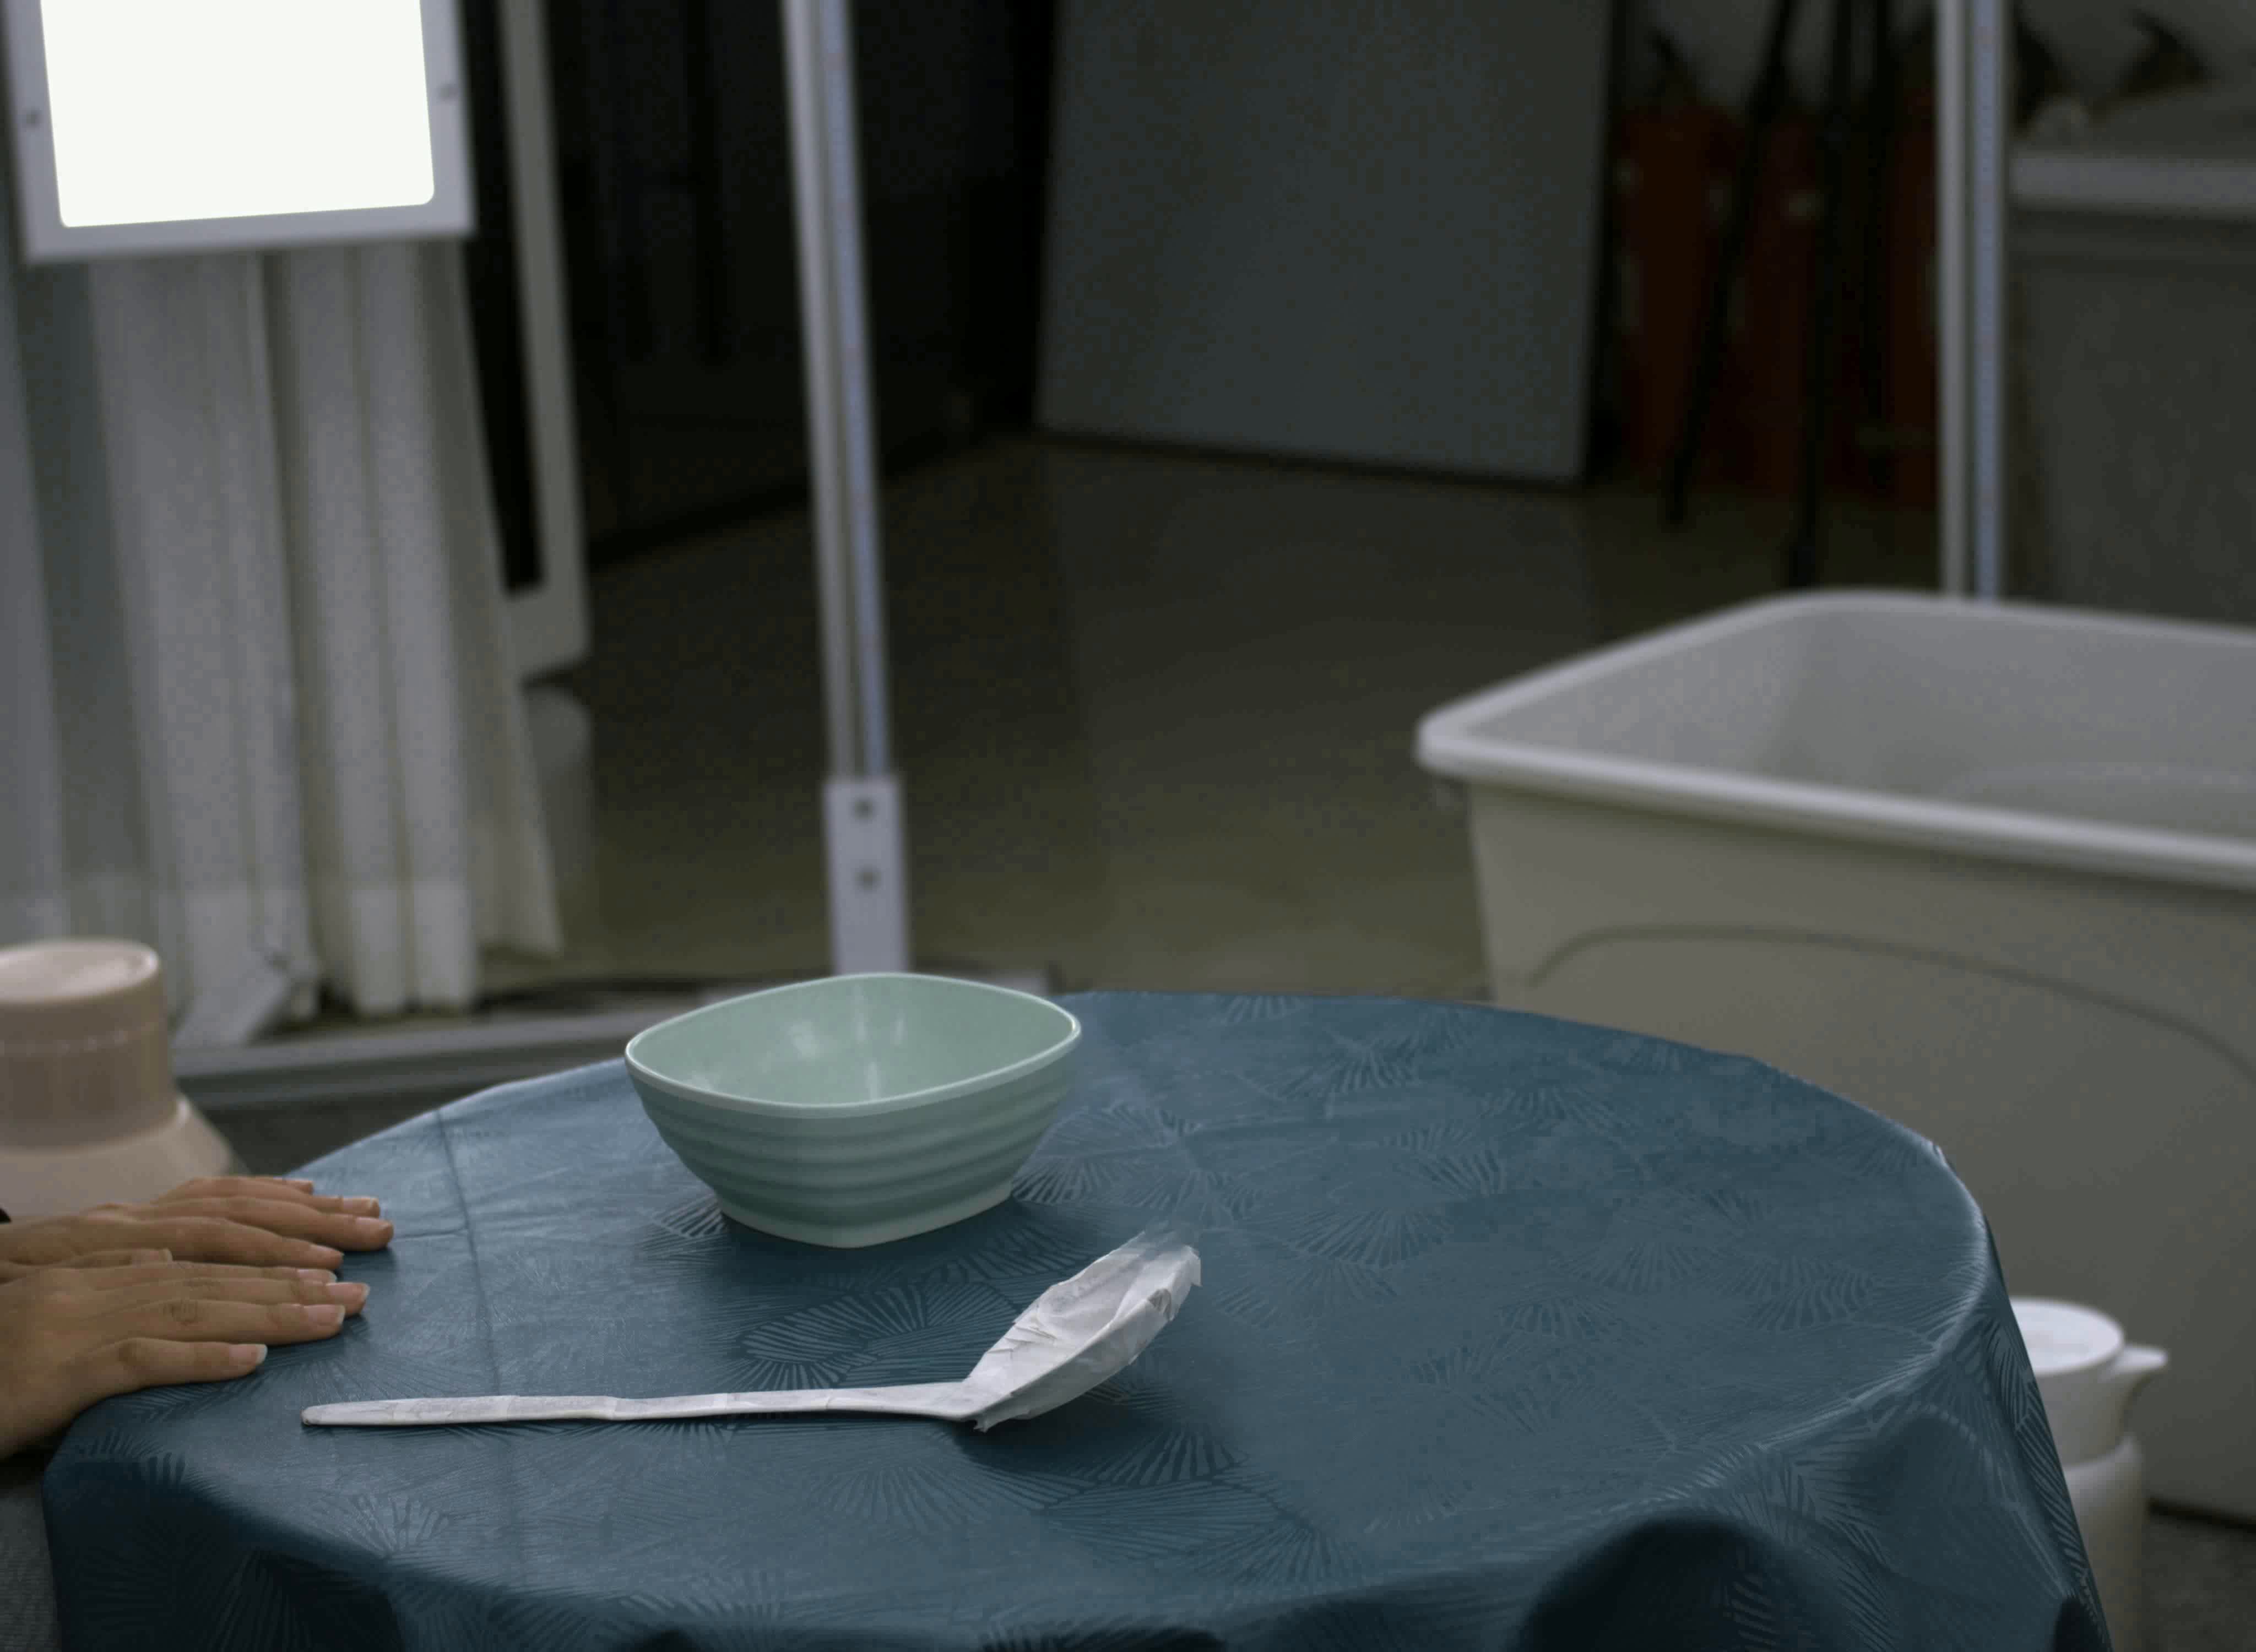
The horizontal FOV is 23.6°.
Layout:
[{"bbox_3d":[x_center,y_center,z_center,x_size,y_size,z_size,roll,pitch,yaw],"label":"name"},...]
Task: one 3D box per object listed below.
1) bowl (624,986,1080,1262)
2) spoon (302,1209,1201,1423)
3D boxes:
[{"bbox_3d":[-0.088,0.100,1.771,0.149,0.059,0.151,-4,13,0],"label":"bowl"},{"bbox_3d":[-0.112,0.144,1.591,0.275,0.060,0.100,-1,9,12],"label":"spoon"}]
